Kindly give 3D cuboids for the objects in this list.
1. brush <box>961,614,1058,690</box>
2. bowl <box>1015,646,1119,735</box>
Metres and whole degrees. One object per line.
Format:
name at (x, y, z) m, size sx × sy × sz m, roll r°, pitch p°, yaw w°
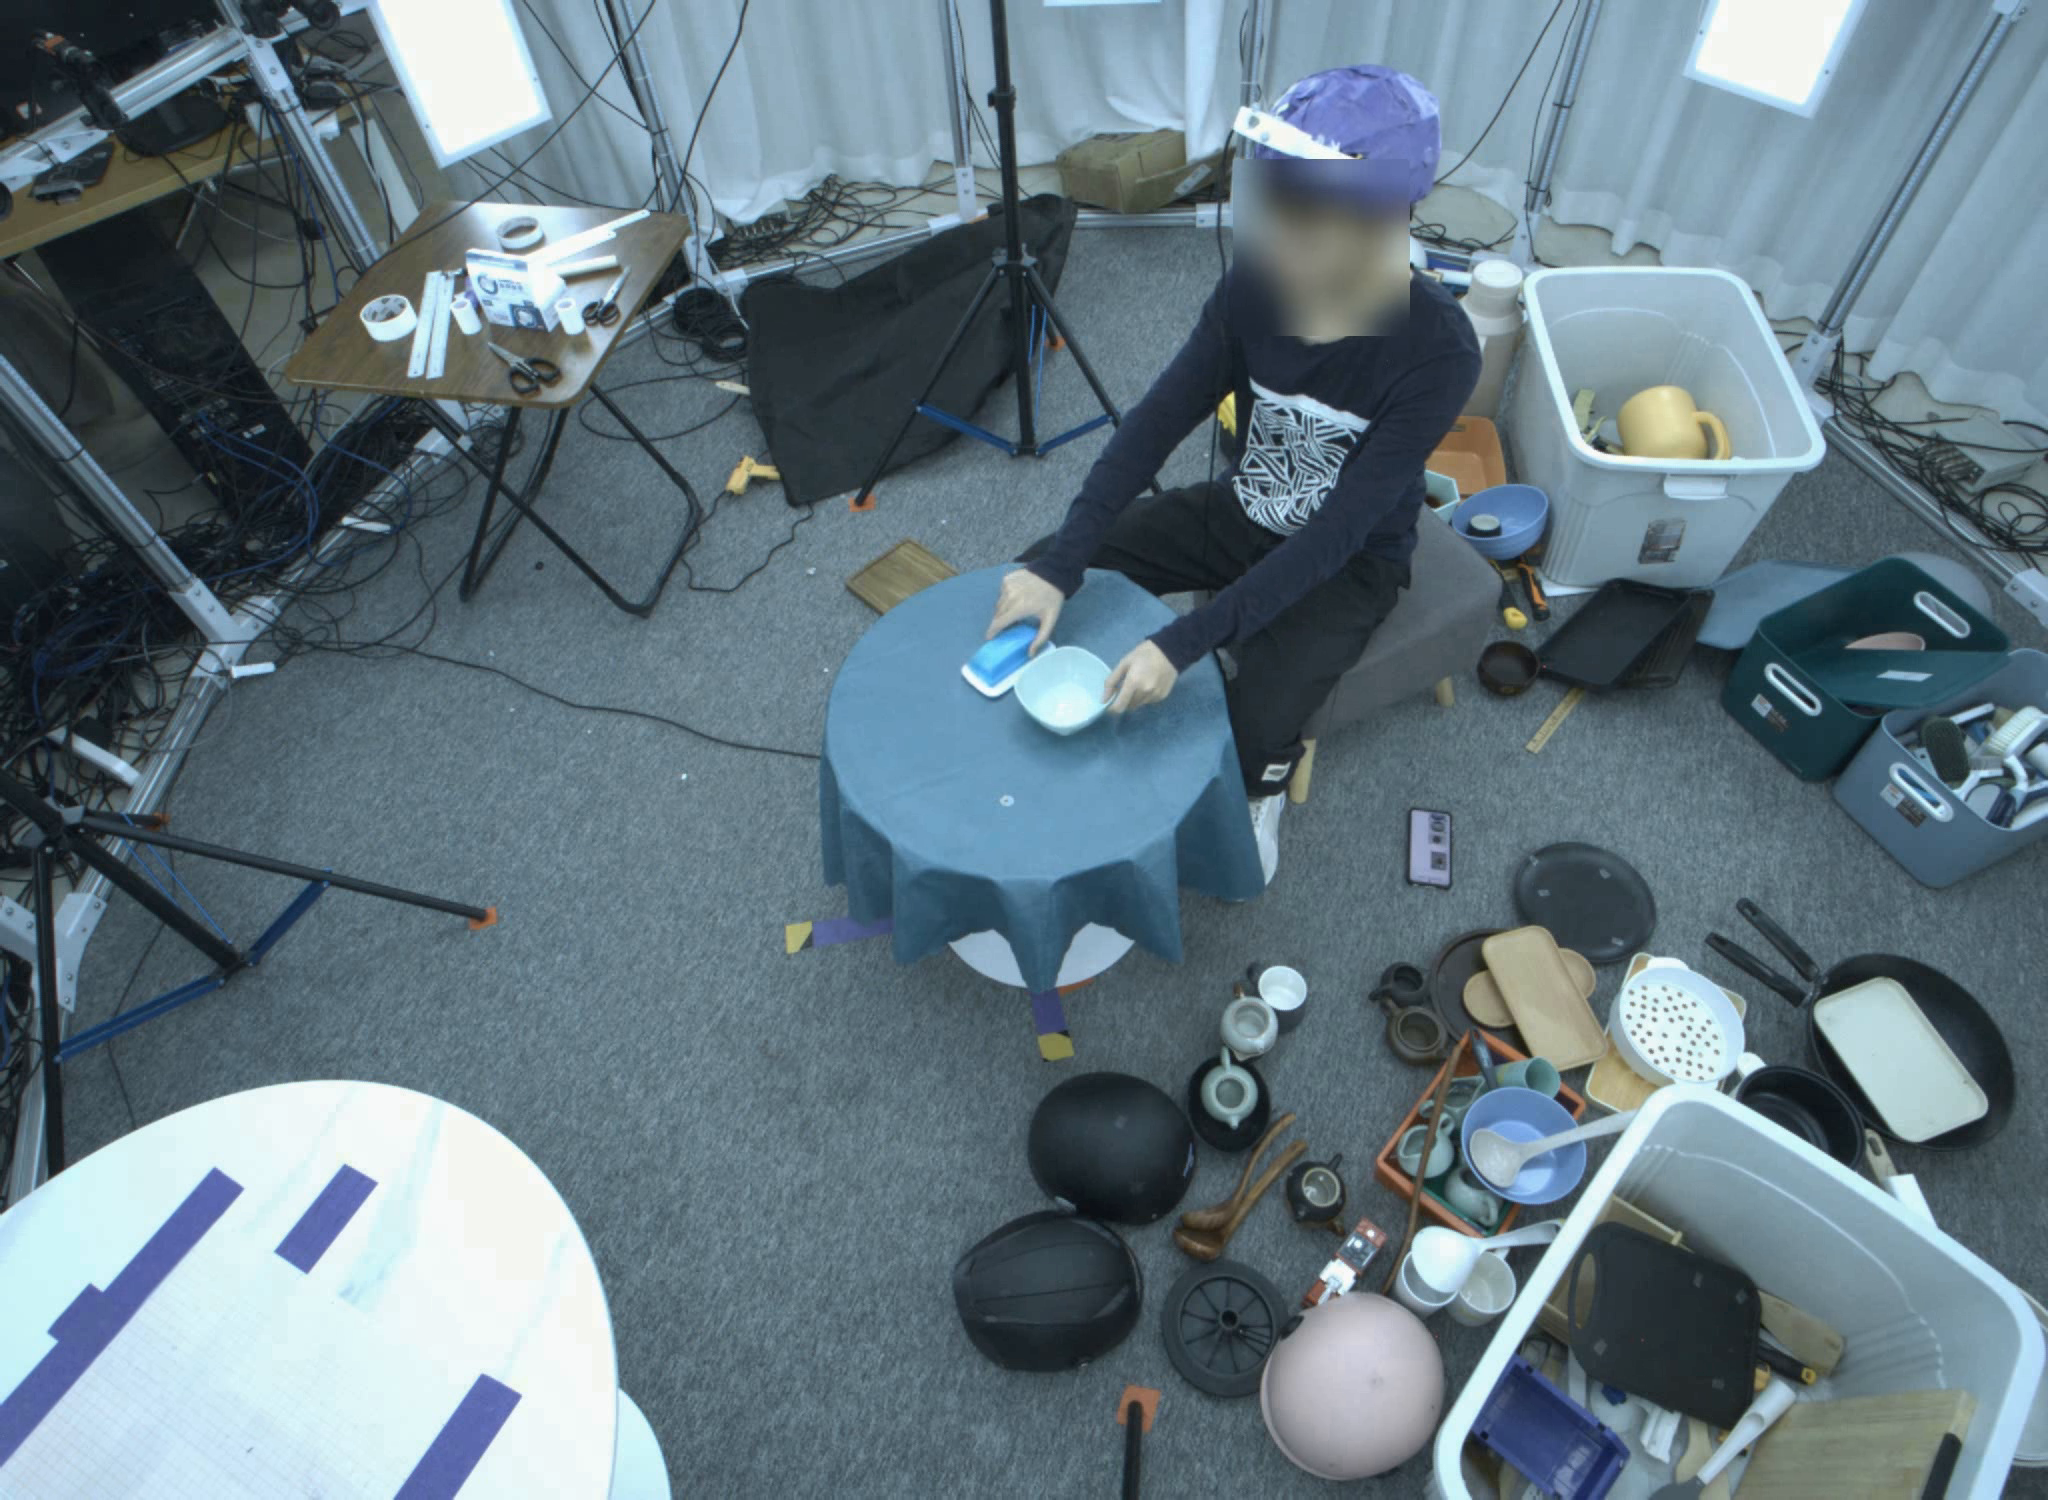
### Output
brush at (-0.021, -0.156, 1.854) m, size 0.145 × 0.056 × 0.082 m, roll -37°, pitch 65°, yaw -20°
bowl at (0.062, -0.077, 1.800) m, size 0.151 × 0.059 × 0.150 m, roll 1°, pitch 55°, yaw 0°
